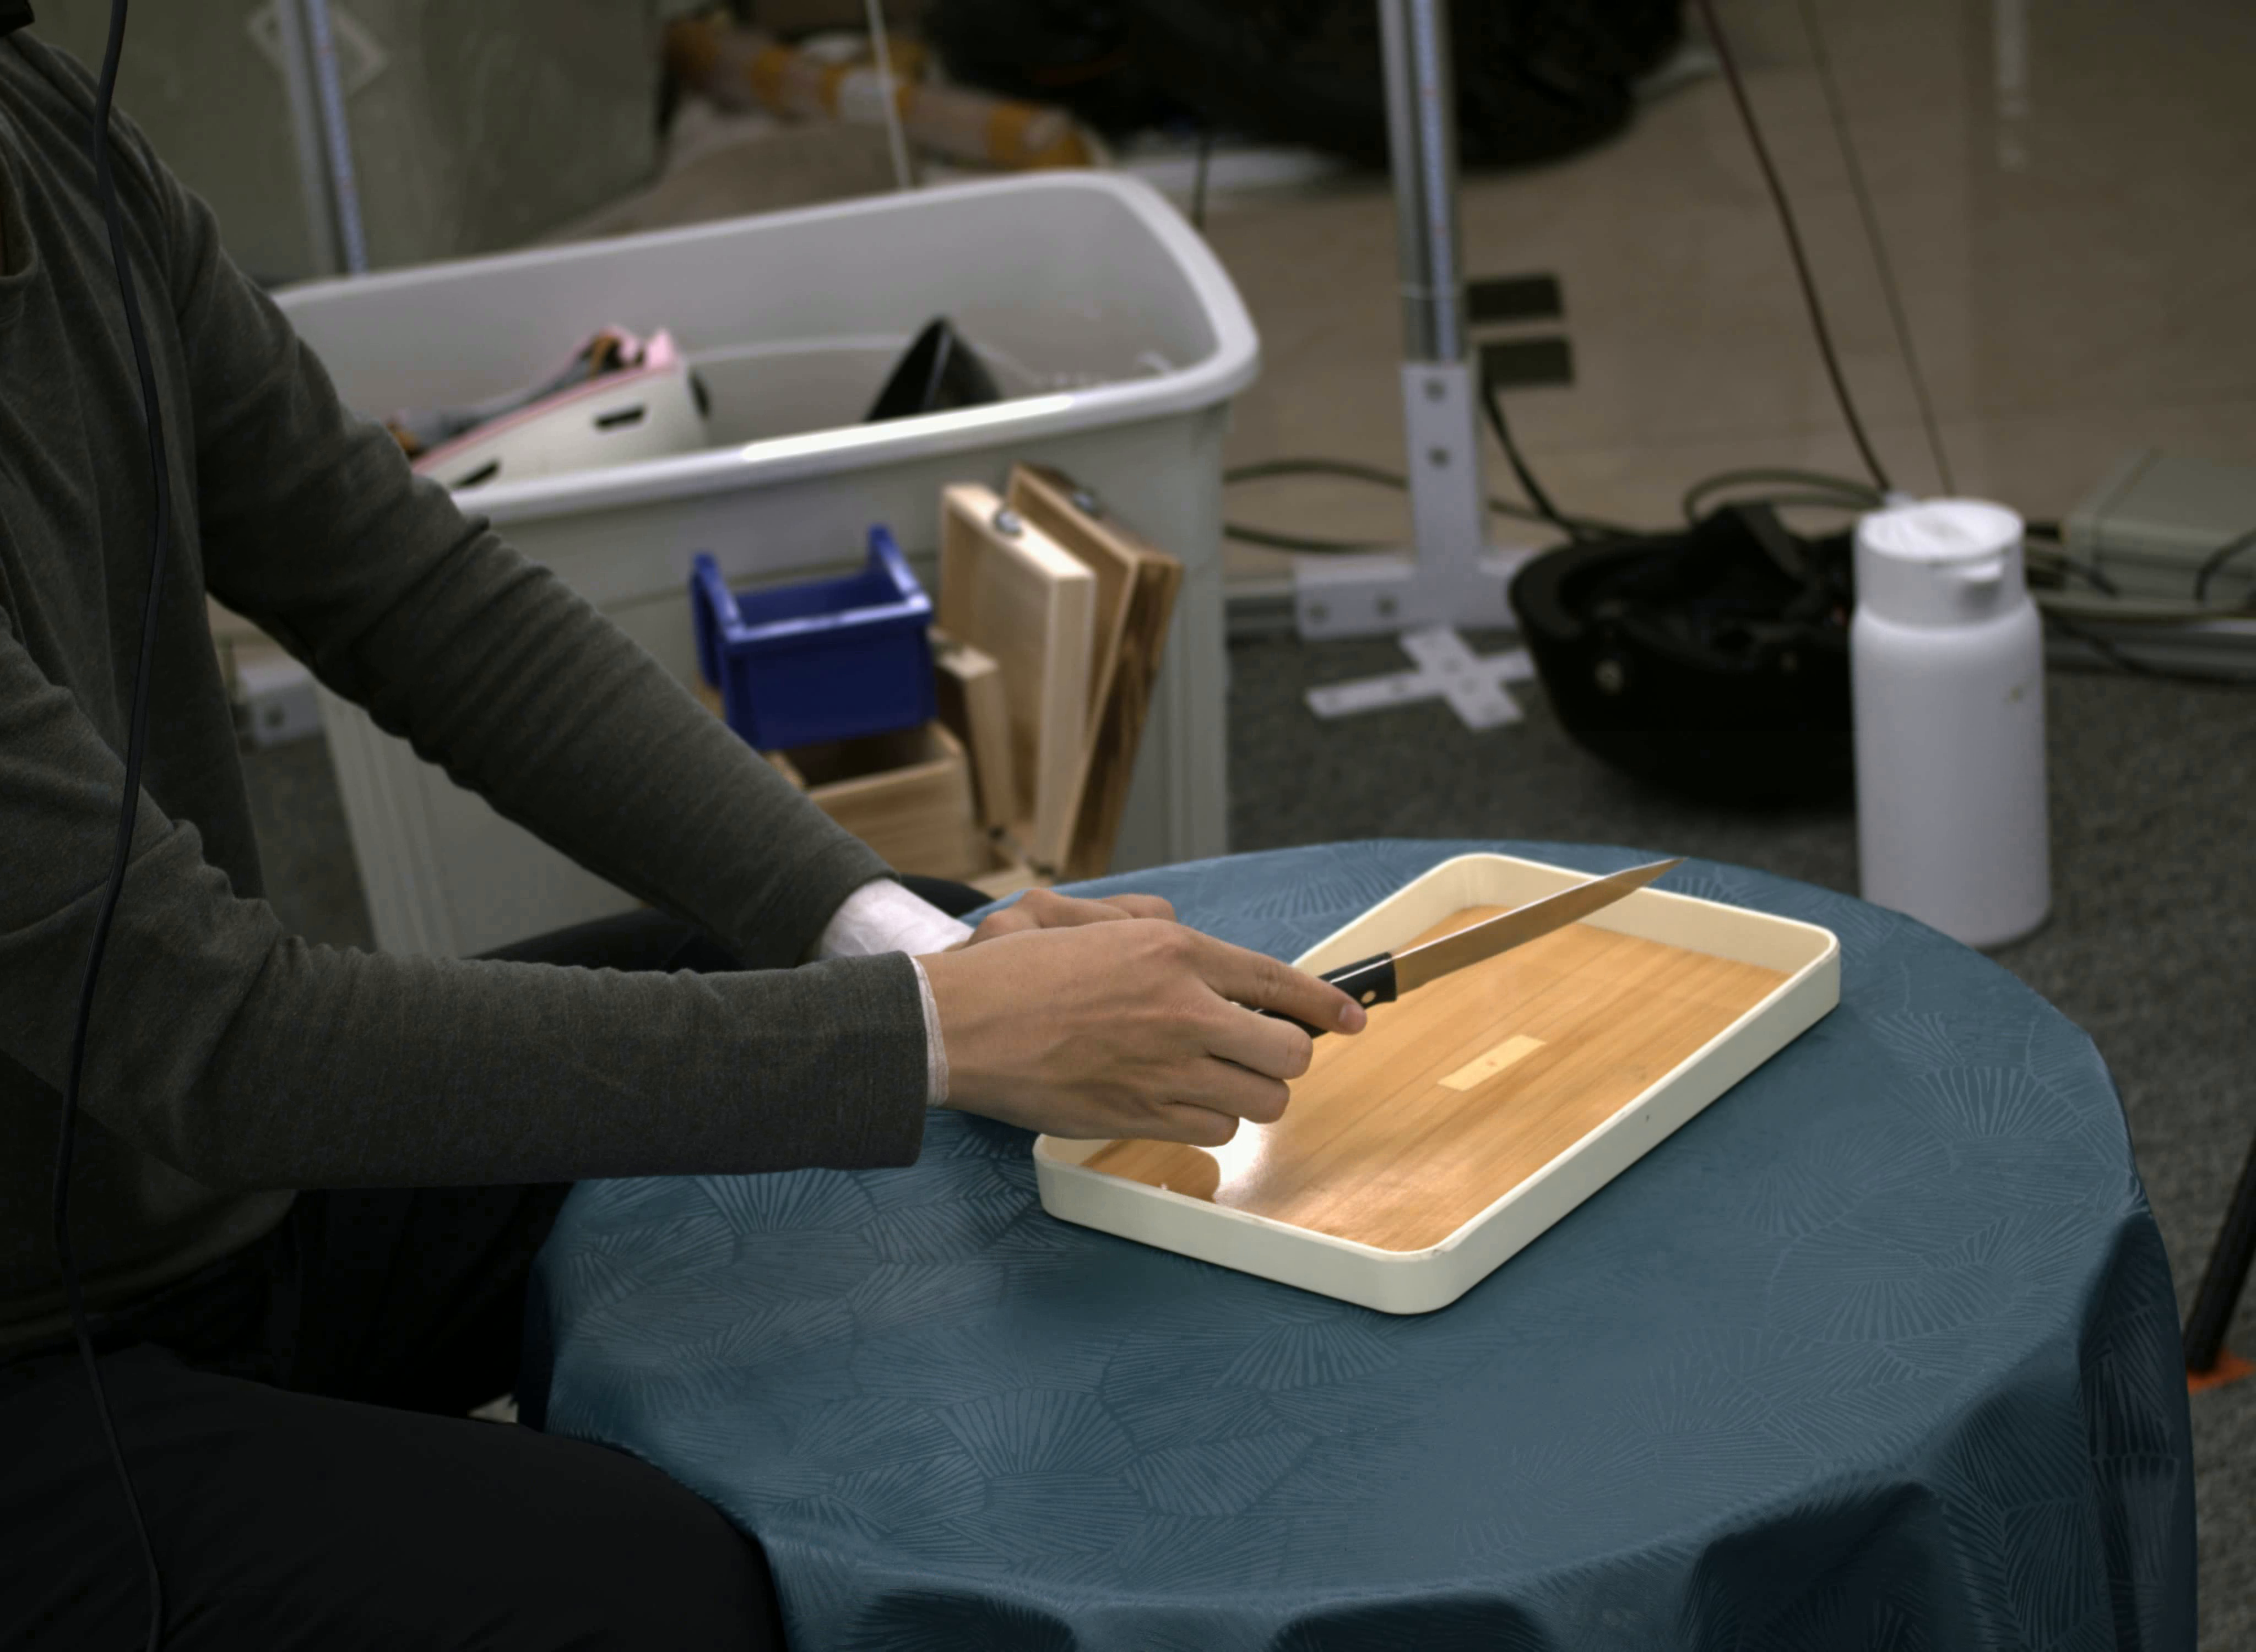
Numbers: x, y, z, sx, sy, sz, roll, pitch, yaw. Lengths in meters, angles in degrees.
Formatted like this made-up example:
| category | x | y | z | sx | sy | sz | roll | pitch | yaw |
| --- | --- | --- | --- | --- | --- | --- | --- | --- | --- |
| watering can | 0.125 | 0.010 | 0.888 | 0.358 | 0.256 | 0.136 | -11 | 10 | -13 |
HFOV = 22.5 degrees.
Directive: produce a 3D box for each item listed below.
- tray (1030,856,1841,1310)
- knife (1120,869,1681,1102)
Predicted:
| category | x | y | z | sx | sy | sz | roll | pitch | yaw |
| --- | --- | --- | --- | --- | --- | --- | --- | --- | --- |
| tray | 0.122 | 0.094 | 2.187 | 0.190 | 0.028 | 0.297 | 13 | 31 | 38 |
| knife | 0.105 | 0.055 | 2.144 | 0.237 | 0.025 | 0.016 | -20 | 48 | -16 |
